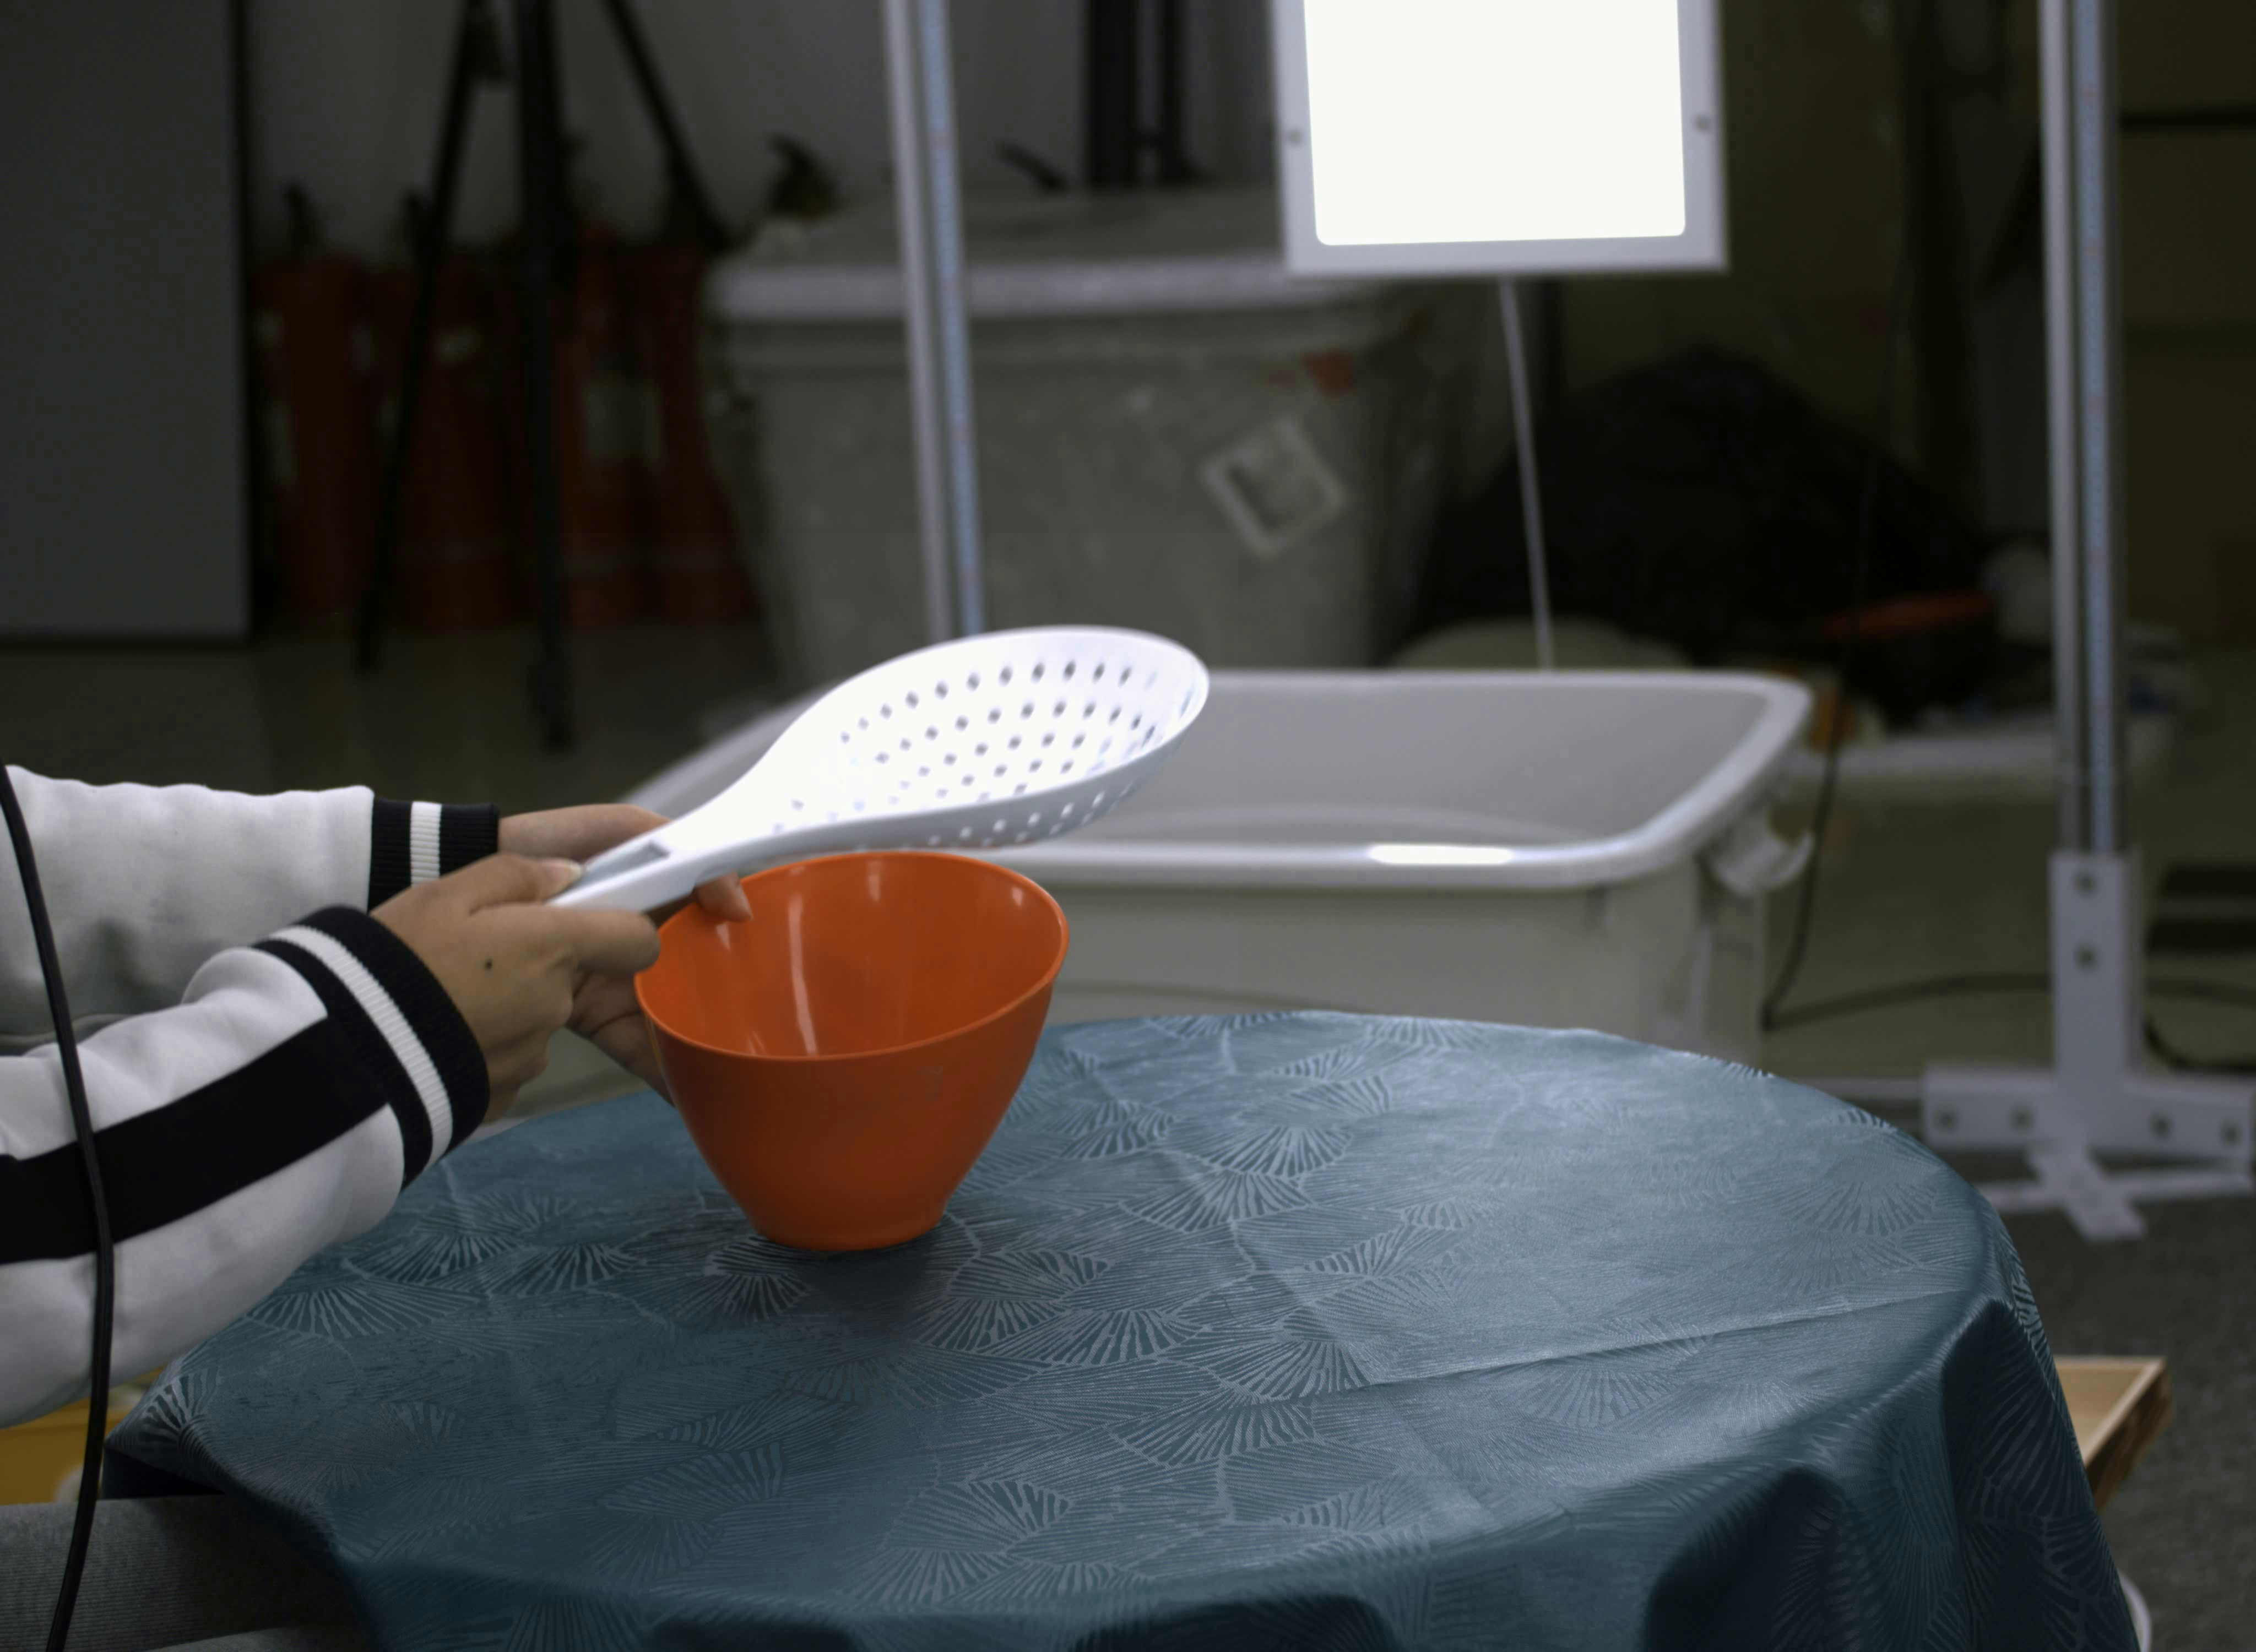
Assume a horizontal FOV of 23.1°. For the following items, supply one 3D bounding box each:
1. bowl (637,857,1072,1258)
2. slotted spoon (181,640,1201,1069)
[{"bbox_3d":[-0.092,0.083,1.872,0.147,0.105,0.148,-2,19,-1],"label":"bowl"},{"bbox_3d":[-0.133,0.009,1.725,0.342,0.046,0.138,-16,23,-26],"label":"slotted spoon"}]
